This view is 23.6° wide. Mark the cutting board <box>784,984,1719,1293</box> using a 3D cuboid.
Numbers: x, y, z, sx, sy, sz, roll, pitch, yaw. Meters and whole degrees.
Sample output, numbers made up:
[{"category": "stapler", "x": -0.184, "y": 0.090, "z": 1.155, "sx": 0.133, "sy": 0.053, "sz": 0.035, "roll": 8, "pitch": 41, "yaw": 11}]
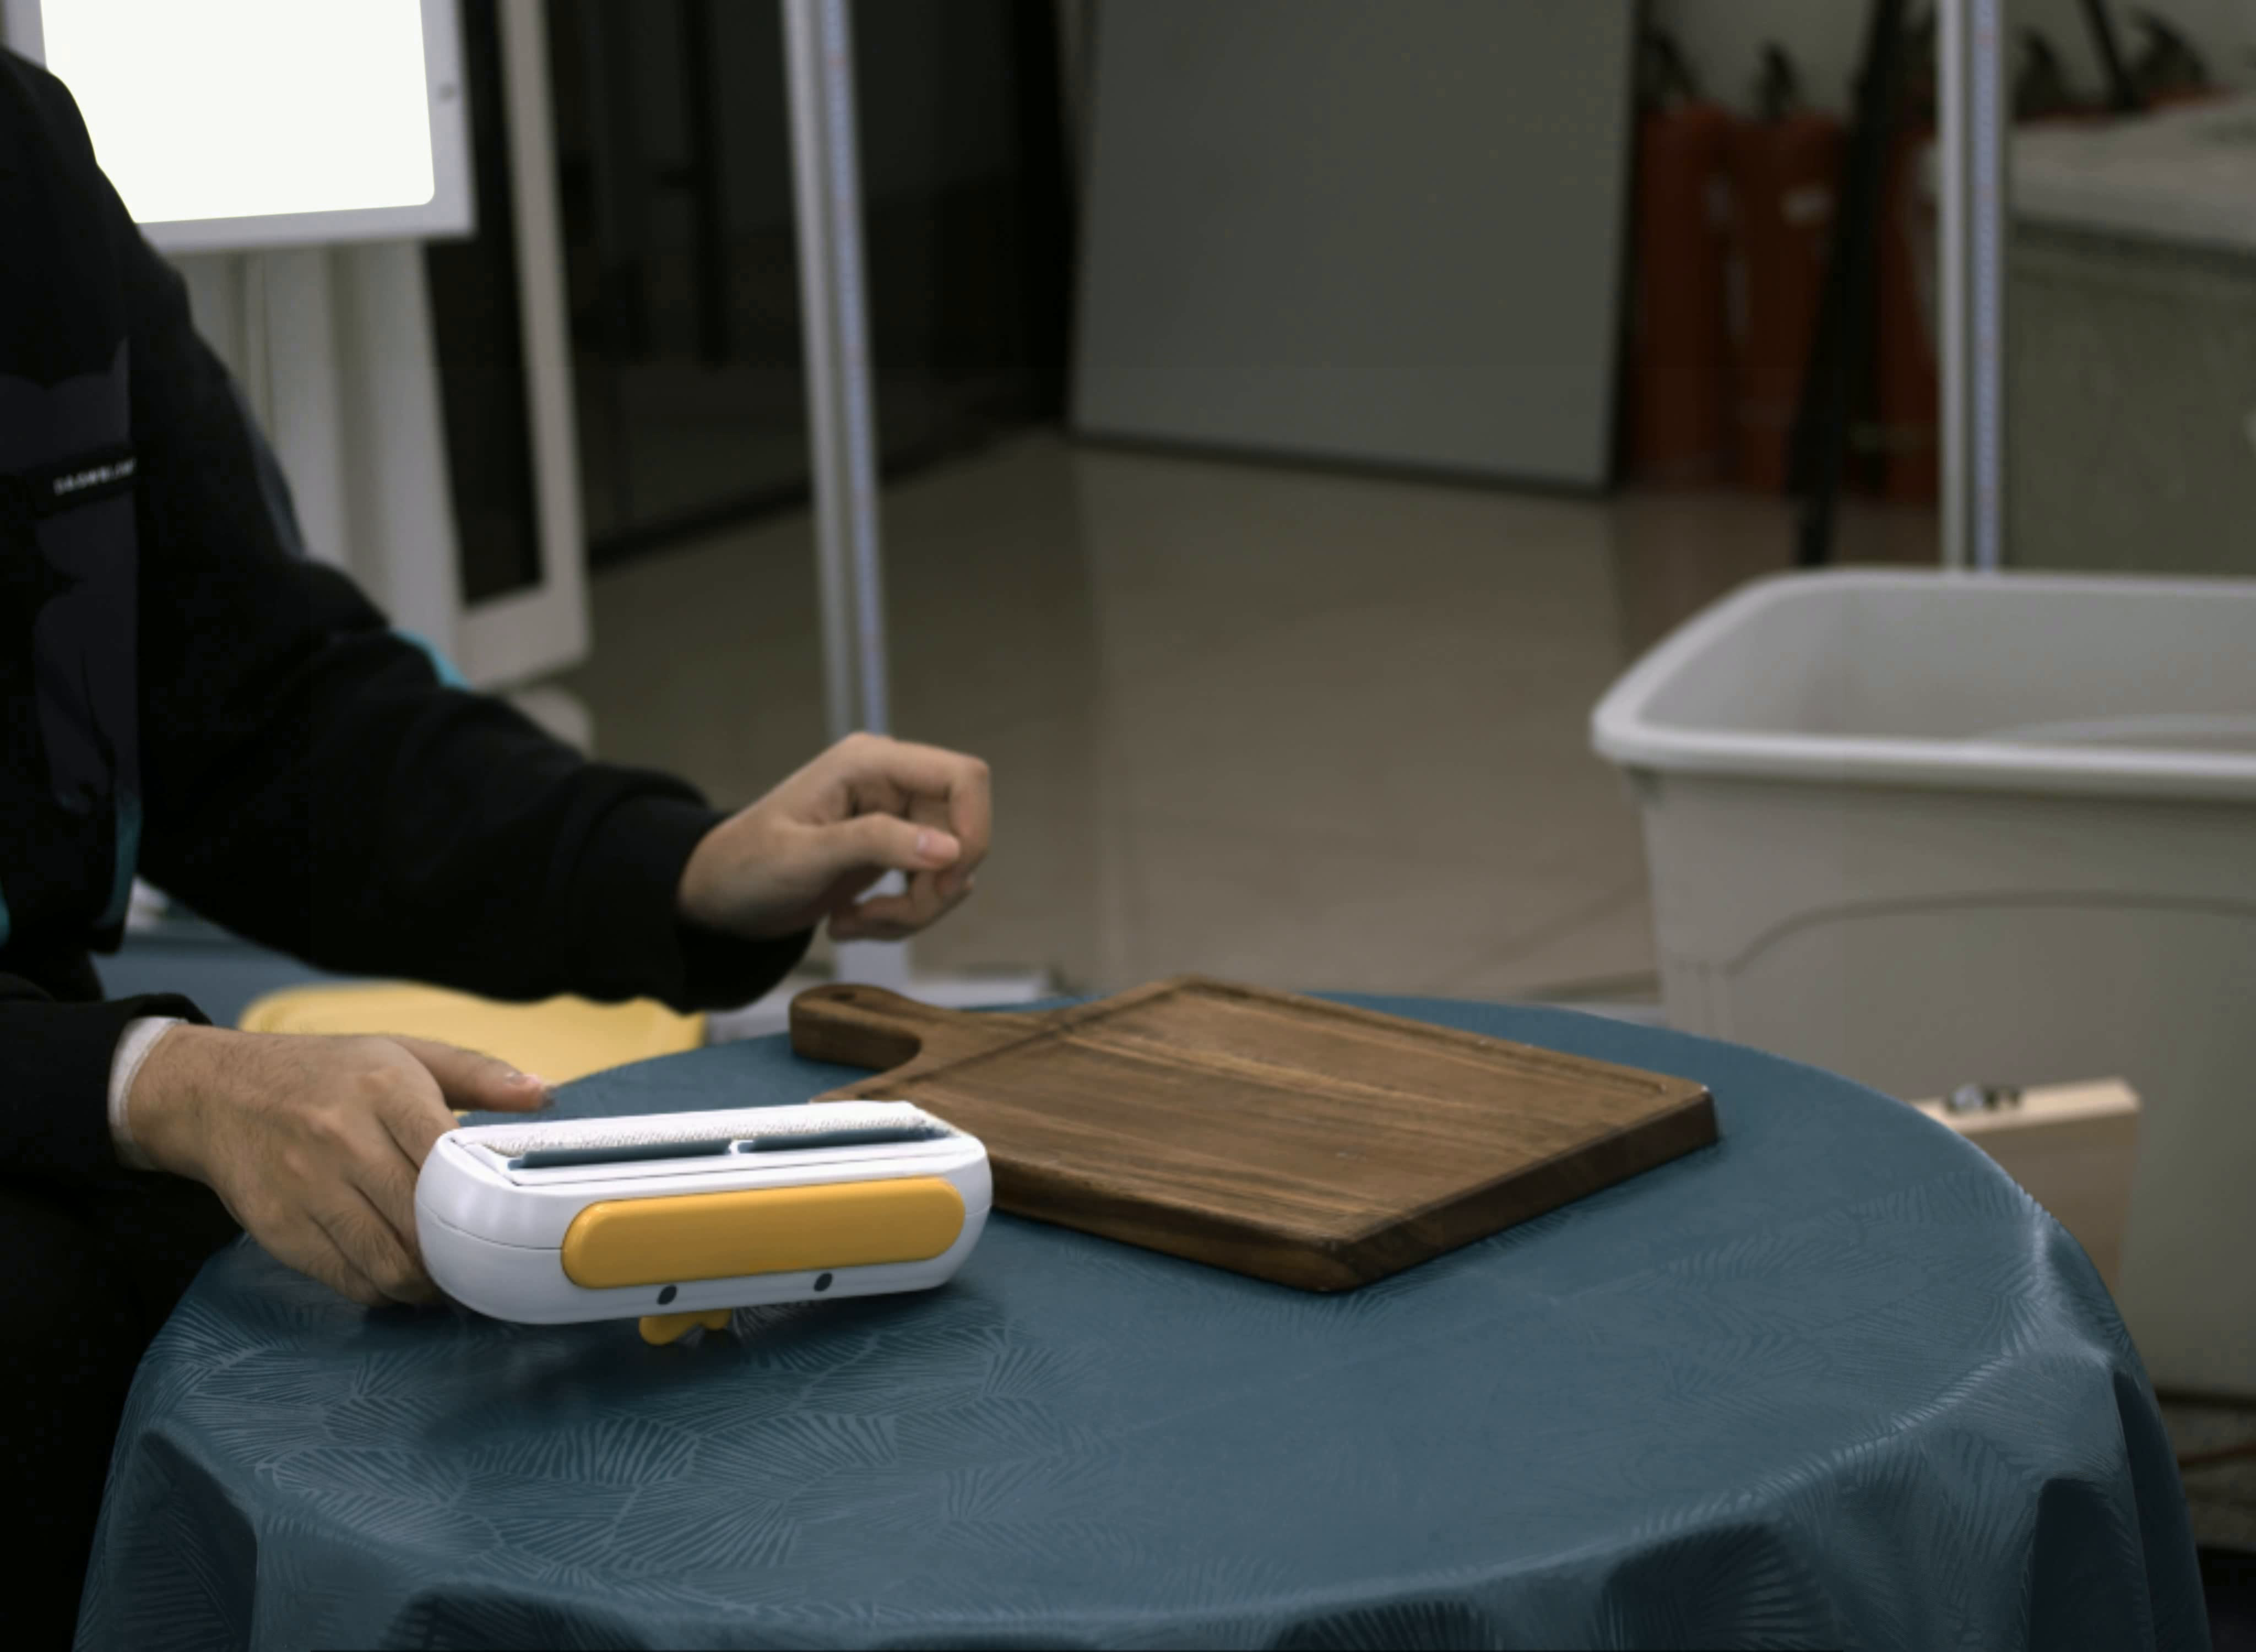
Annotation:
[{"category": "cutting board", "x": 0.009, "y": 0.094, "z": 1.835, "sx": 0.355, "sy": 0.023, "sz": 0.197, "roll": 9, "pitch": 19, "yaw": 44}]

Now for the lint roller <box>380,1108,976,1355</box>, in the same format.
[{"category": "lint roller", "x": -0.166, "y": 0.116, "z": 1.697, "sx": 0.188, "sy": 0.075, "sz": 0.194, "roll": -6, "pitch": 11, "yaw": -32}]
